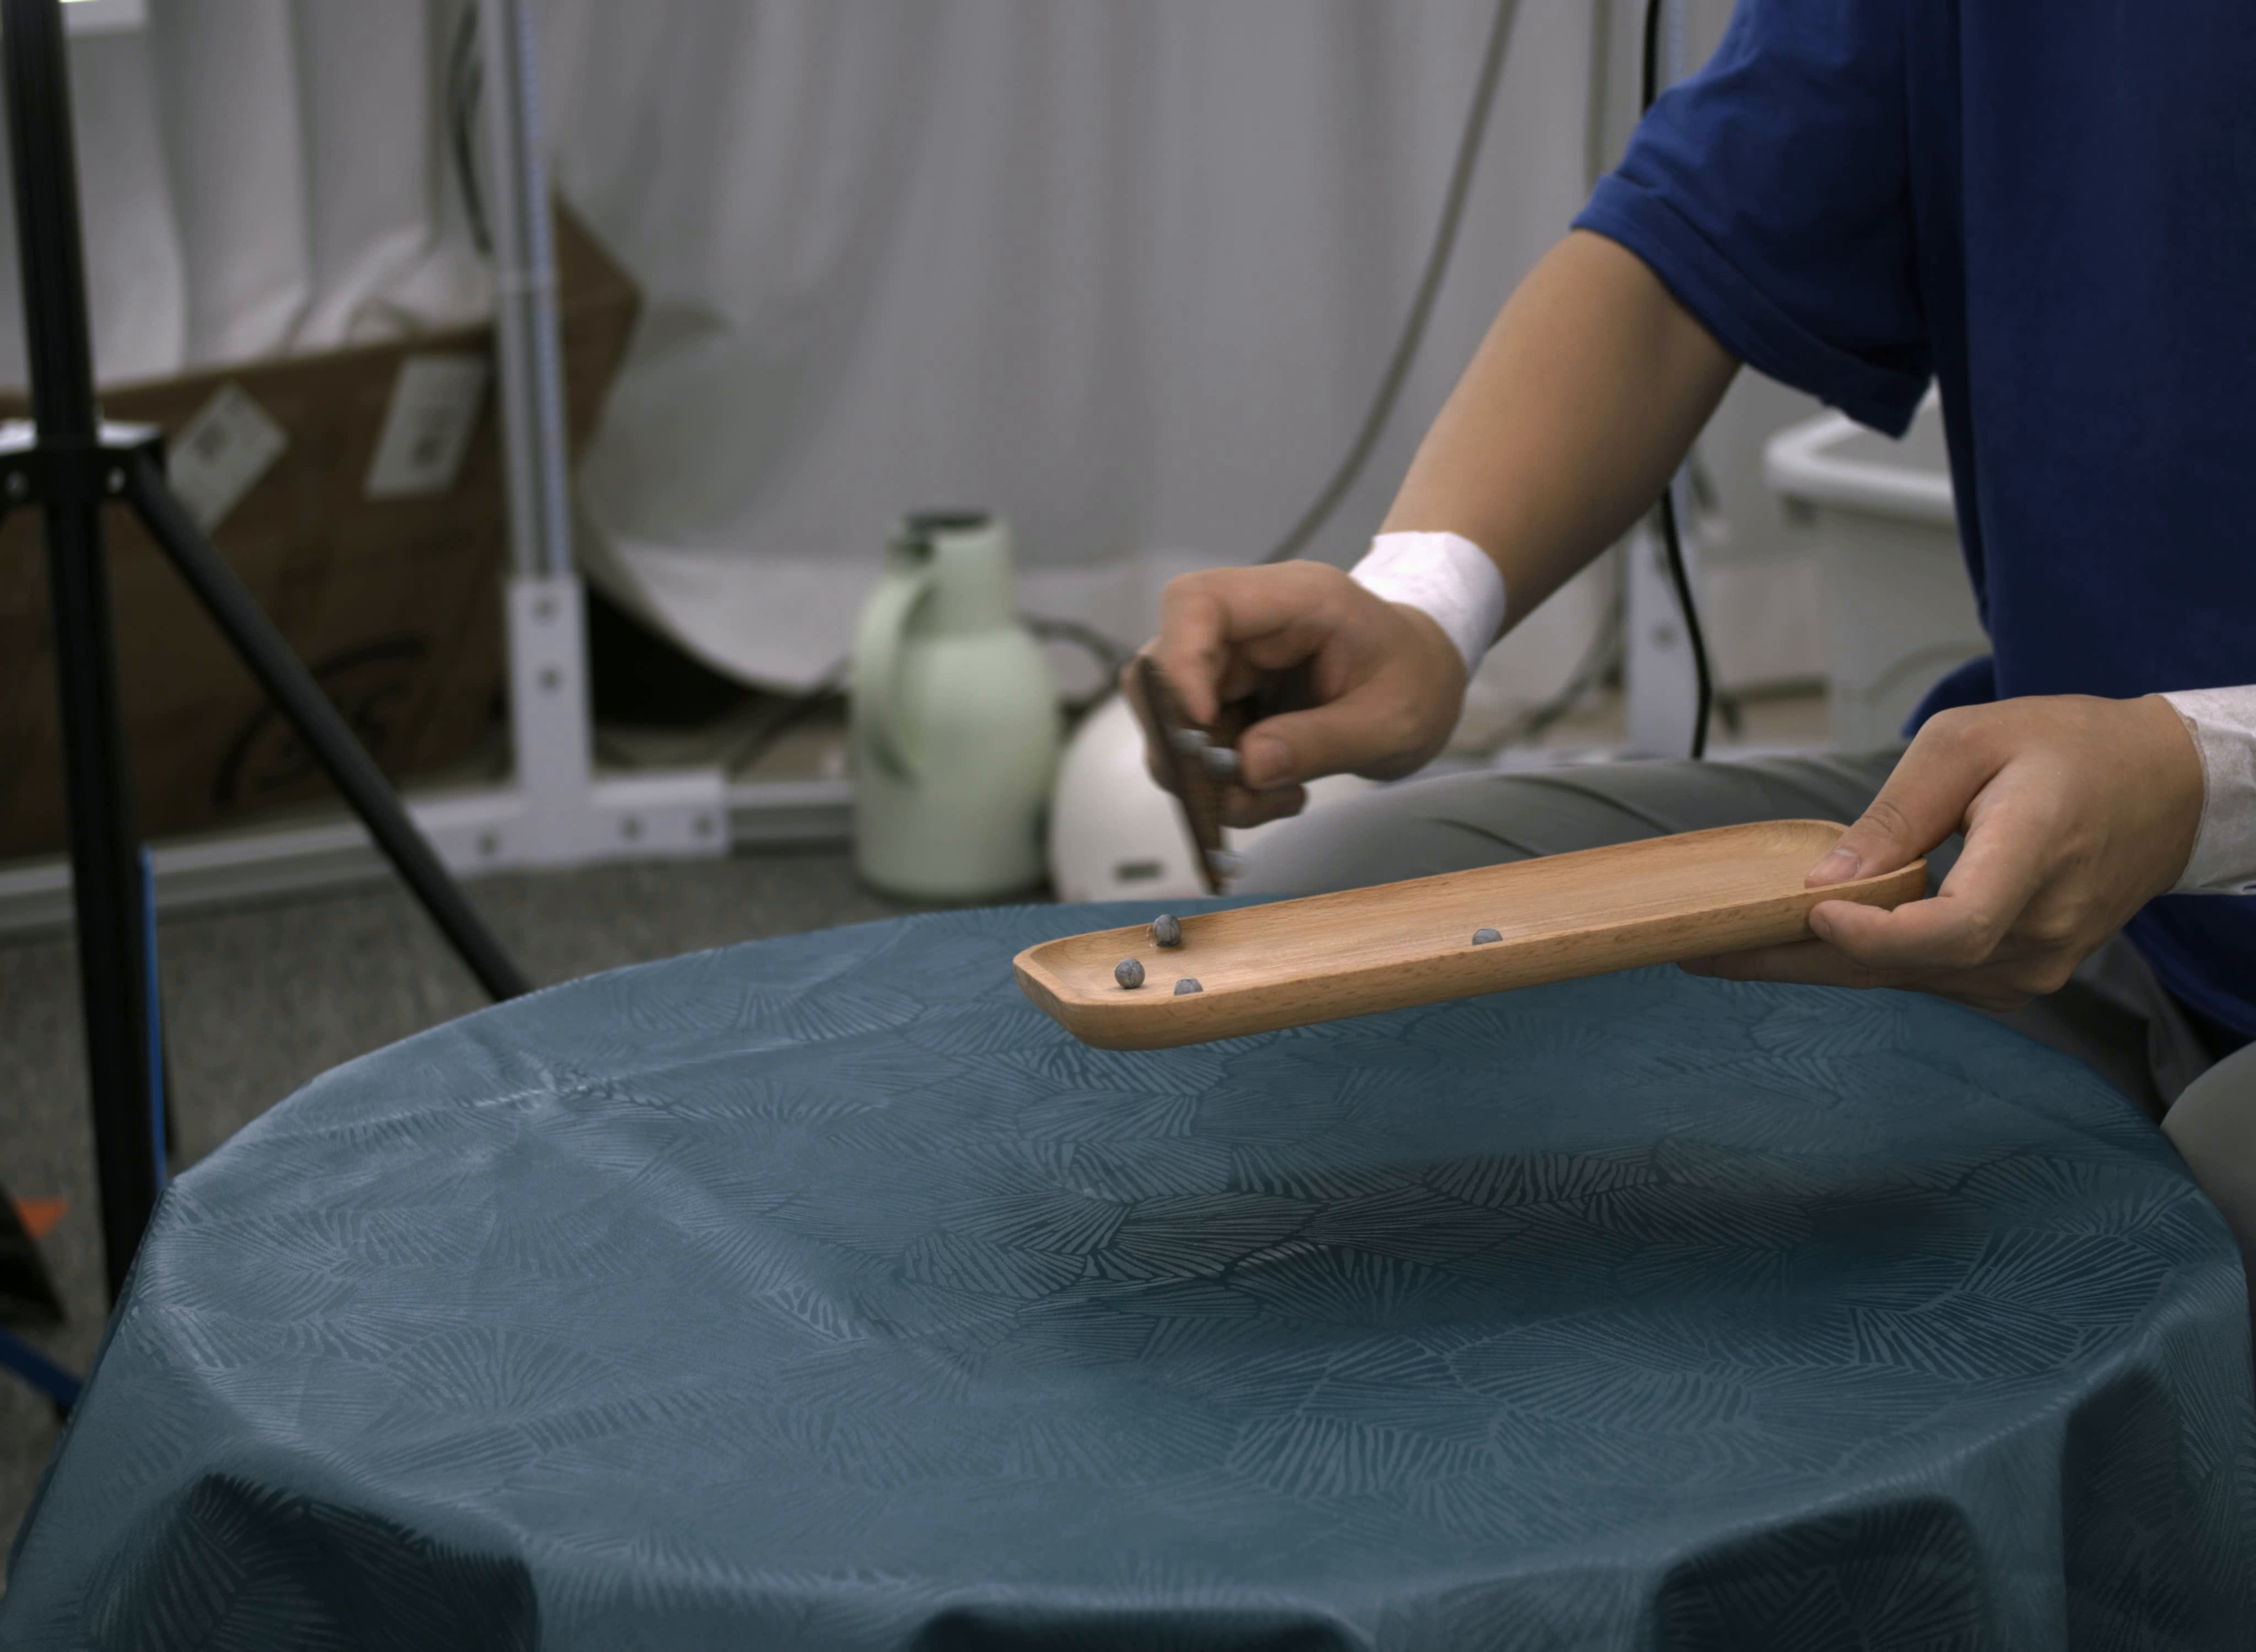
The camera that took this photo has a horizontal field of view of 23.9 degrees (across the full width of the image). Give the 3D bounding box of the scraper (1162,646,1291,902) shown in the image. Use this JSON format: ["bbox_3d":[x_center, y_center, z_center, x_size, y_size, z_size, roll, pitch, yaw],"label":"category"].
[{"bbox_3d":[0.033,-0.022,1.605,0.011,0.076,0.210,-18,2,9],"label":"scraper"}]

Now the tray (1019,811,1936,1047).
[{"bbox_3d":[0.098,0.029,1.502,0.248,0.023,0.132,-9,11,-8],"label":"tray"}]
